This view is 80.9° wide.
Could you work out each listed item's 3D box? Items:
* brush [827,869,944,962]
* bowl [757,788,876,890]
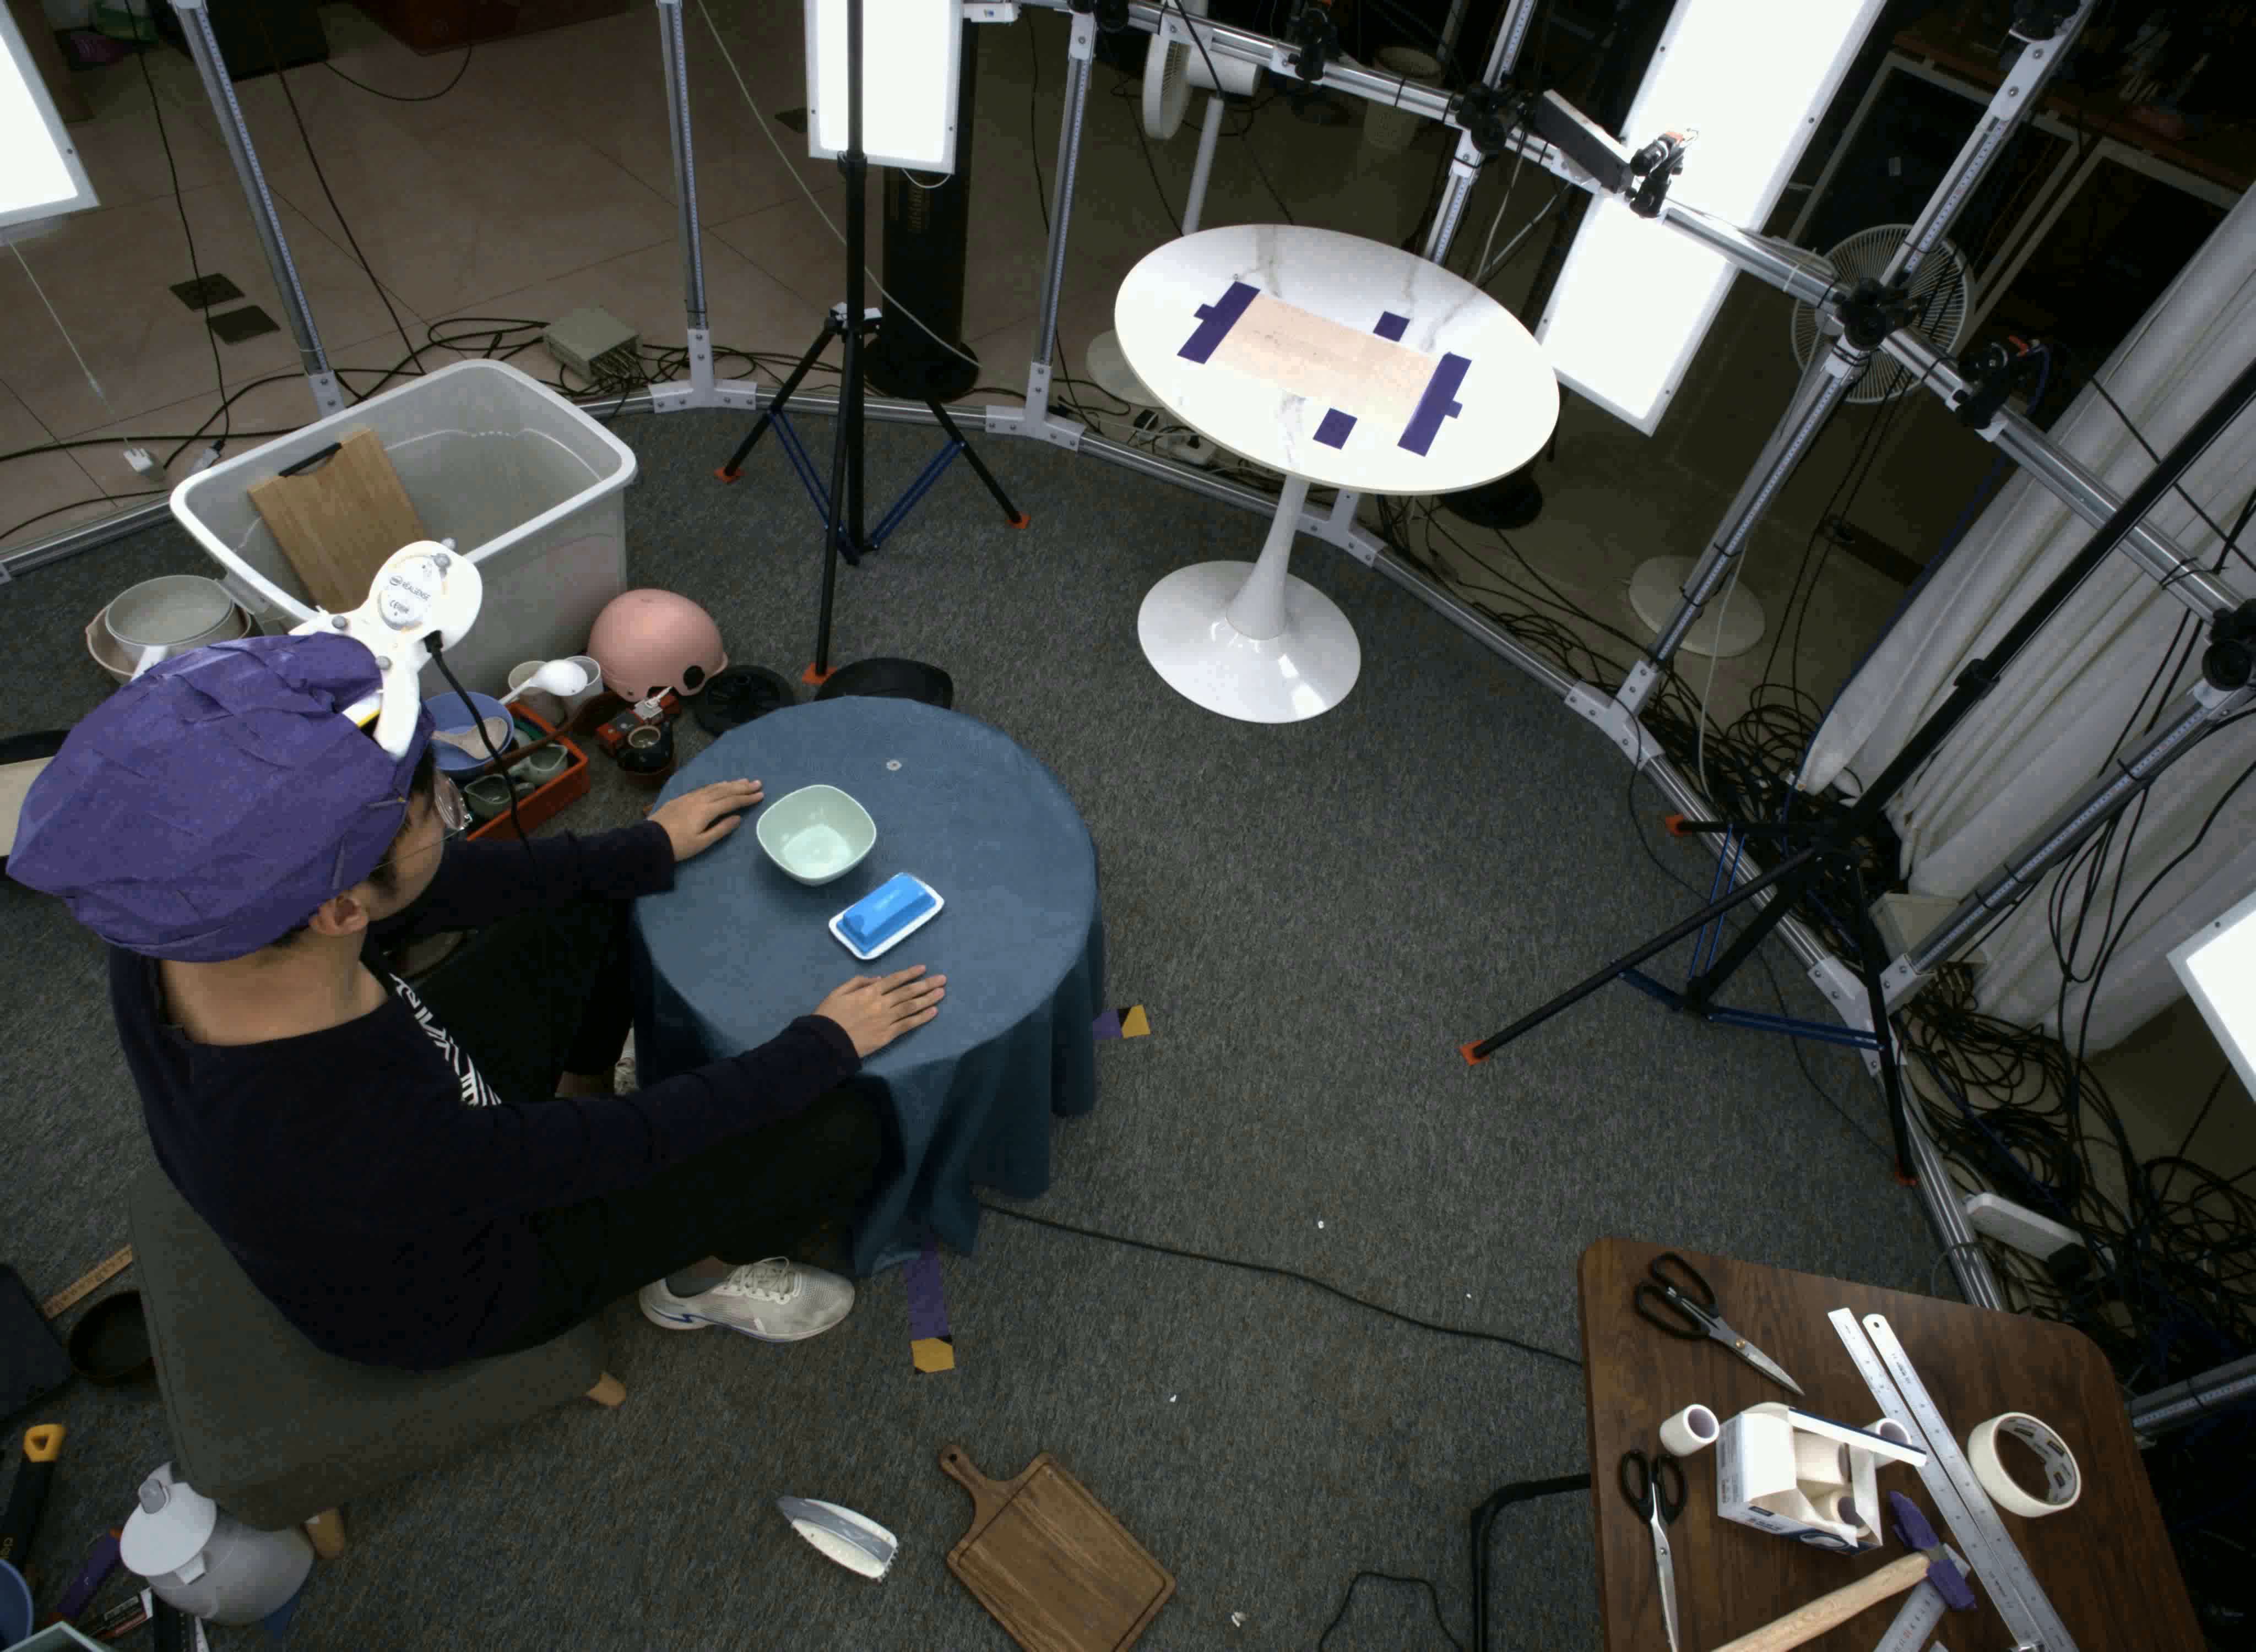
[{"bbox_3d":[-0.306,0.104,1.639,0.081,0.057,0.144,39,53,22],"label":"brush"},{"bbox_3d":[-0.401,0.025,1.678,0.151,0.060,0.148,6,51,-6],"label":"bowl"}]
